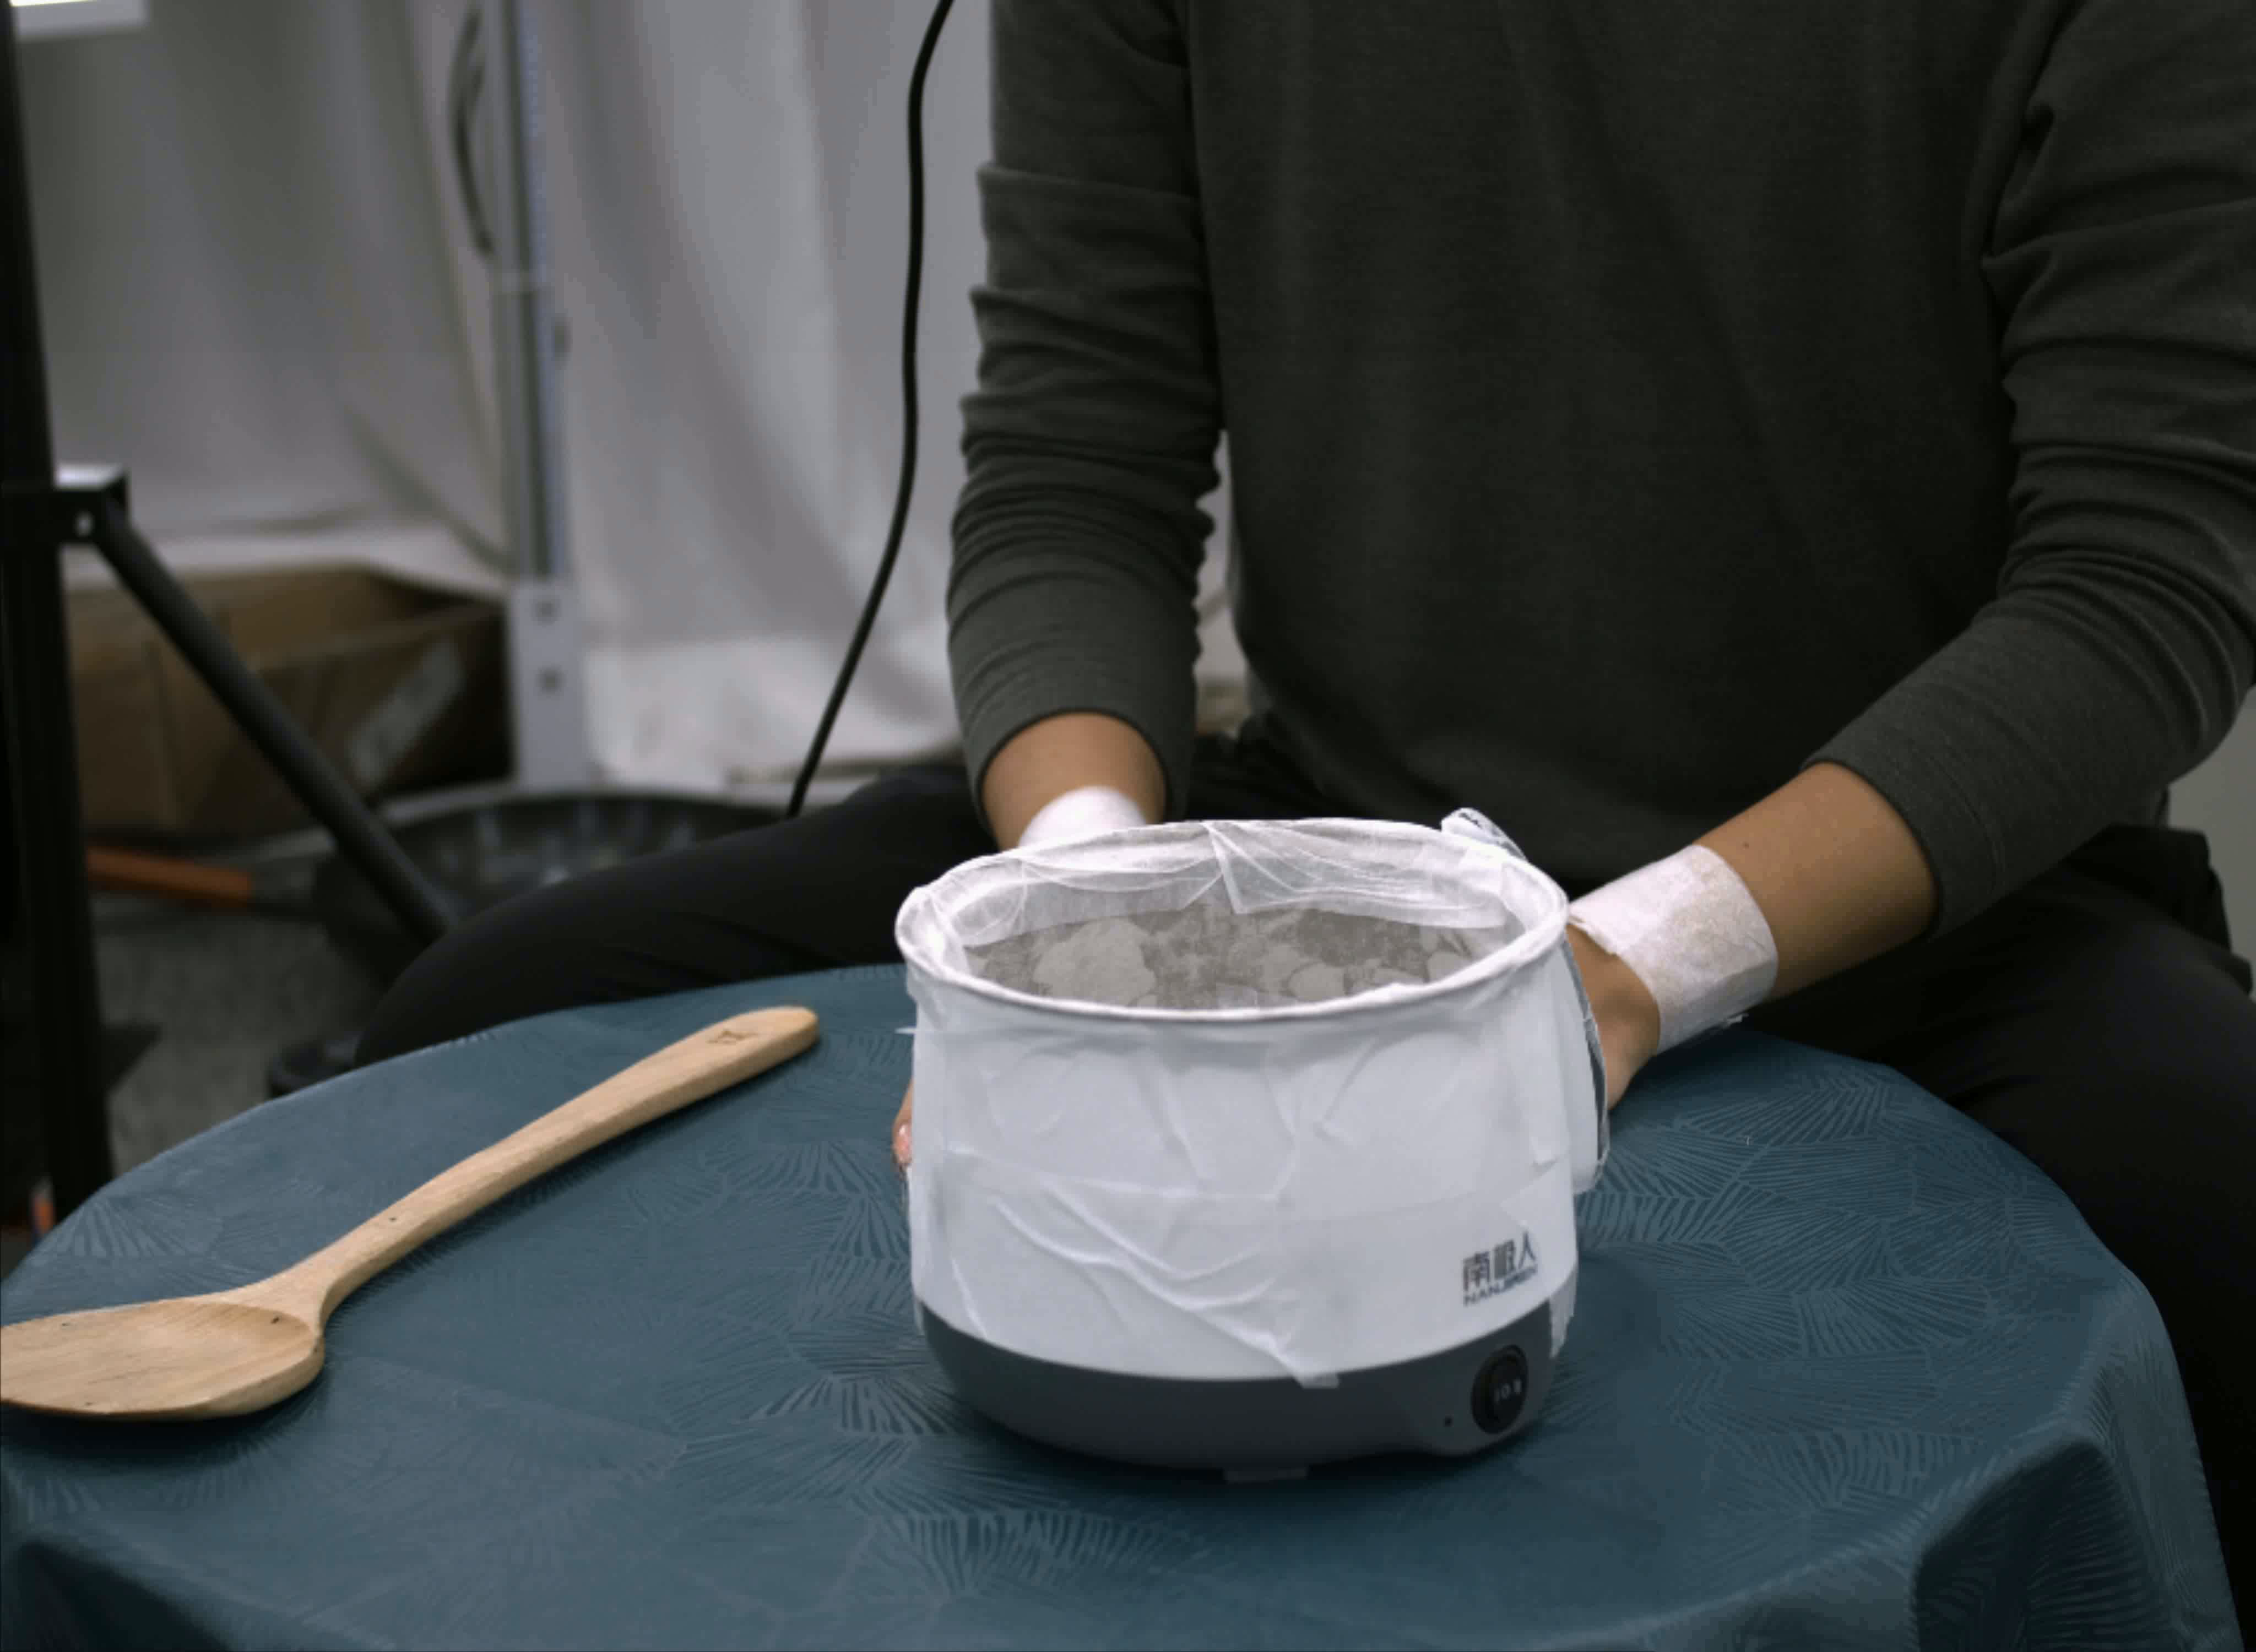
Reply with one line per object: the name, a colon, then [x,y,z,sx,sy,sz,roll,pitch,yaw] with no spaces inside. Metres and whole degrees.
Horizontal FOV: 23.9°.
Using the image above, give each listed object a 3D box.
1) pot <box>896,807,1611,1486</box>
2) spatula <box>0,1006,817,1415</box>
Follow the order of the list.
pot: [0.048,0.077,1.414,0.182,0.136,0.228,12,21,40]
spatula: [-0.201,0.107,1.566,0.097,0.018,0.384,8,19,27]
